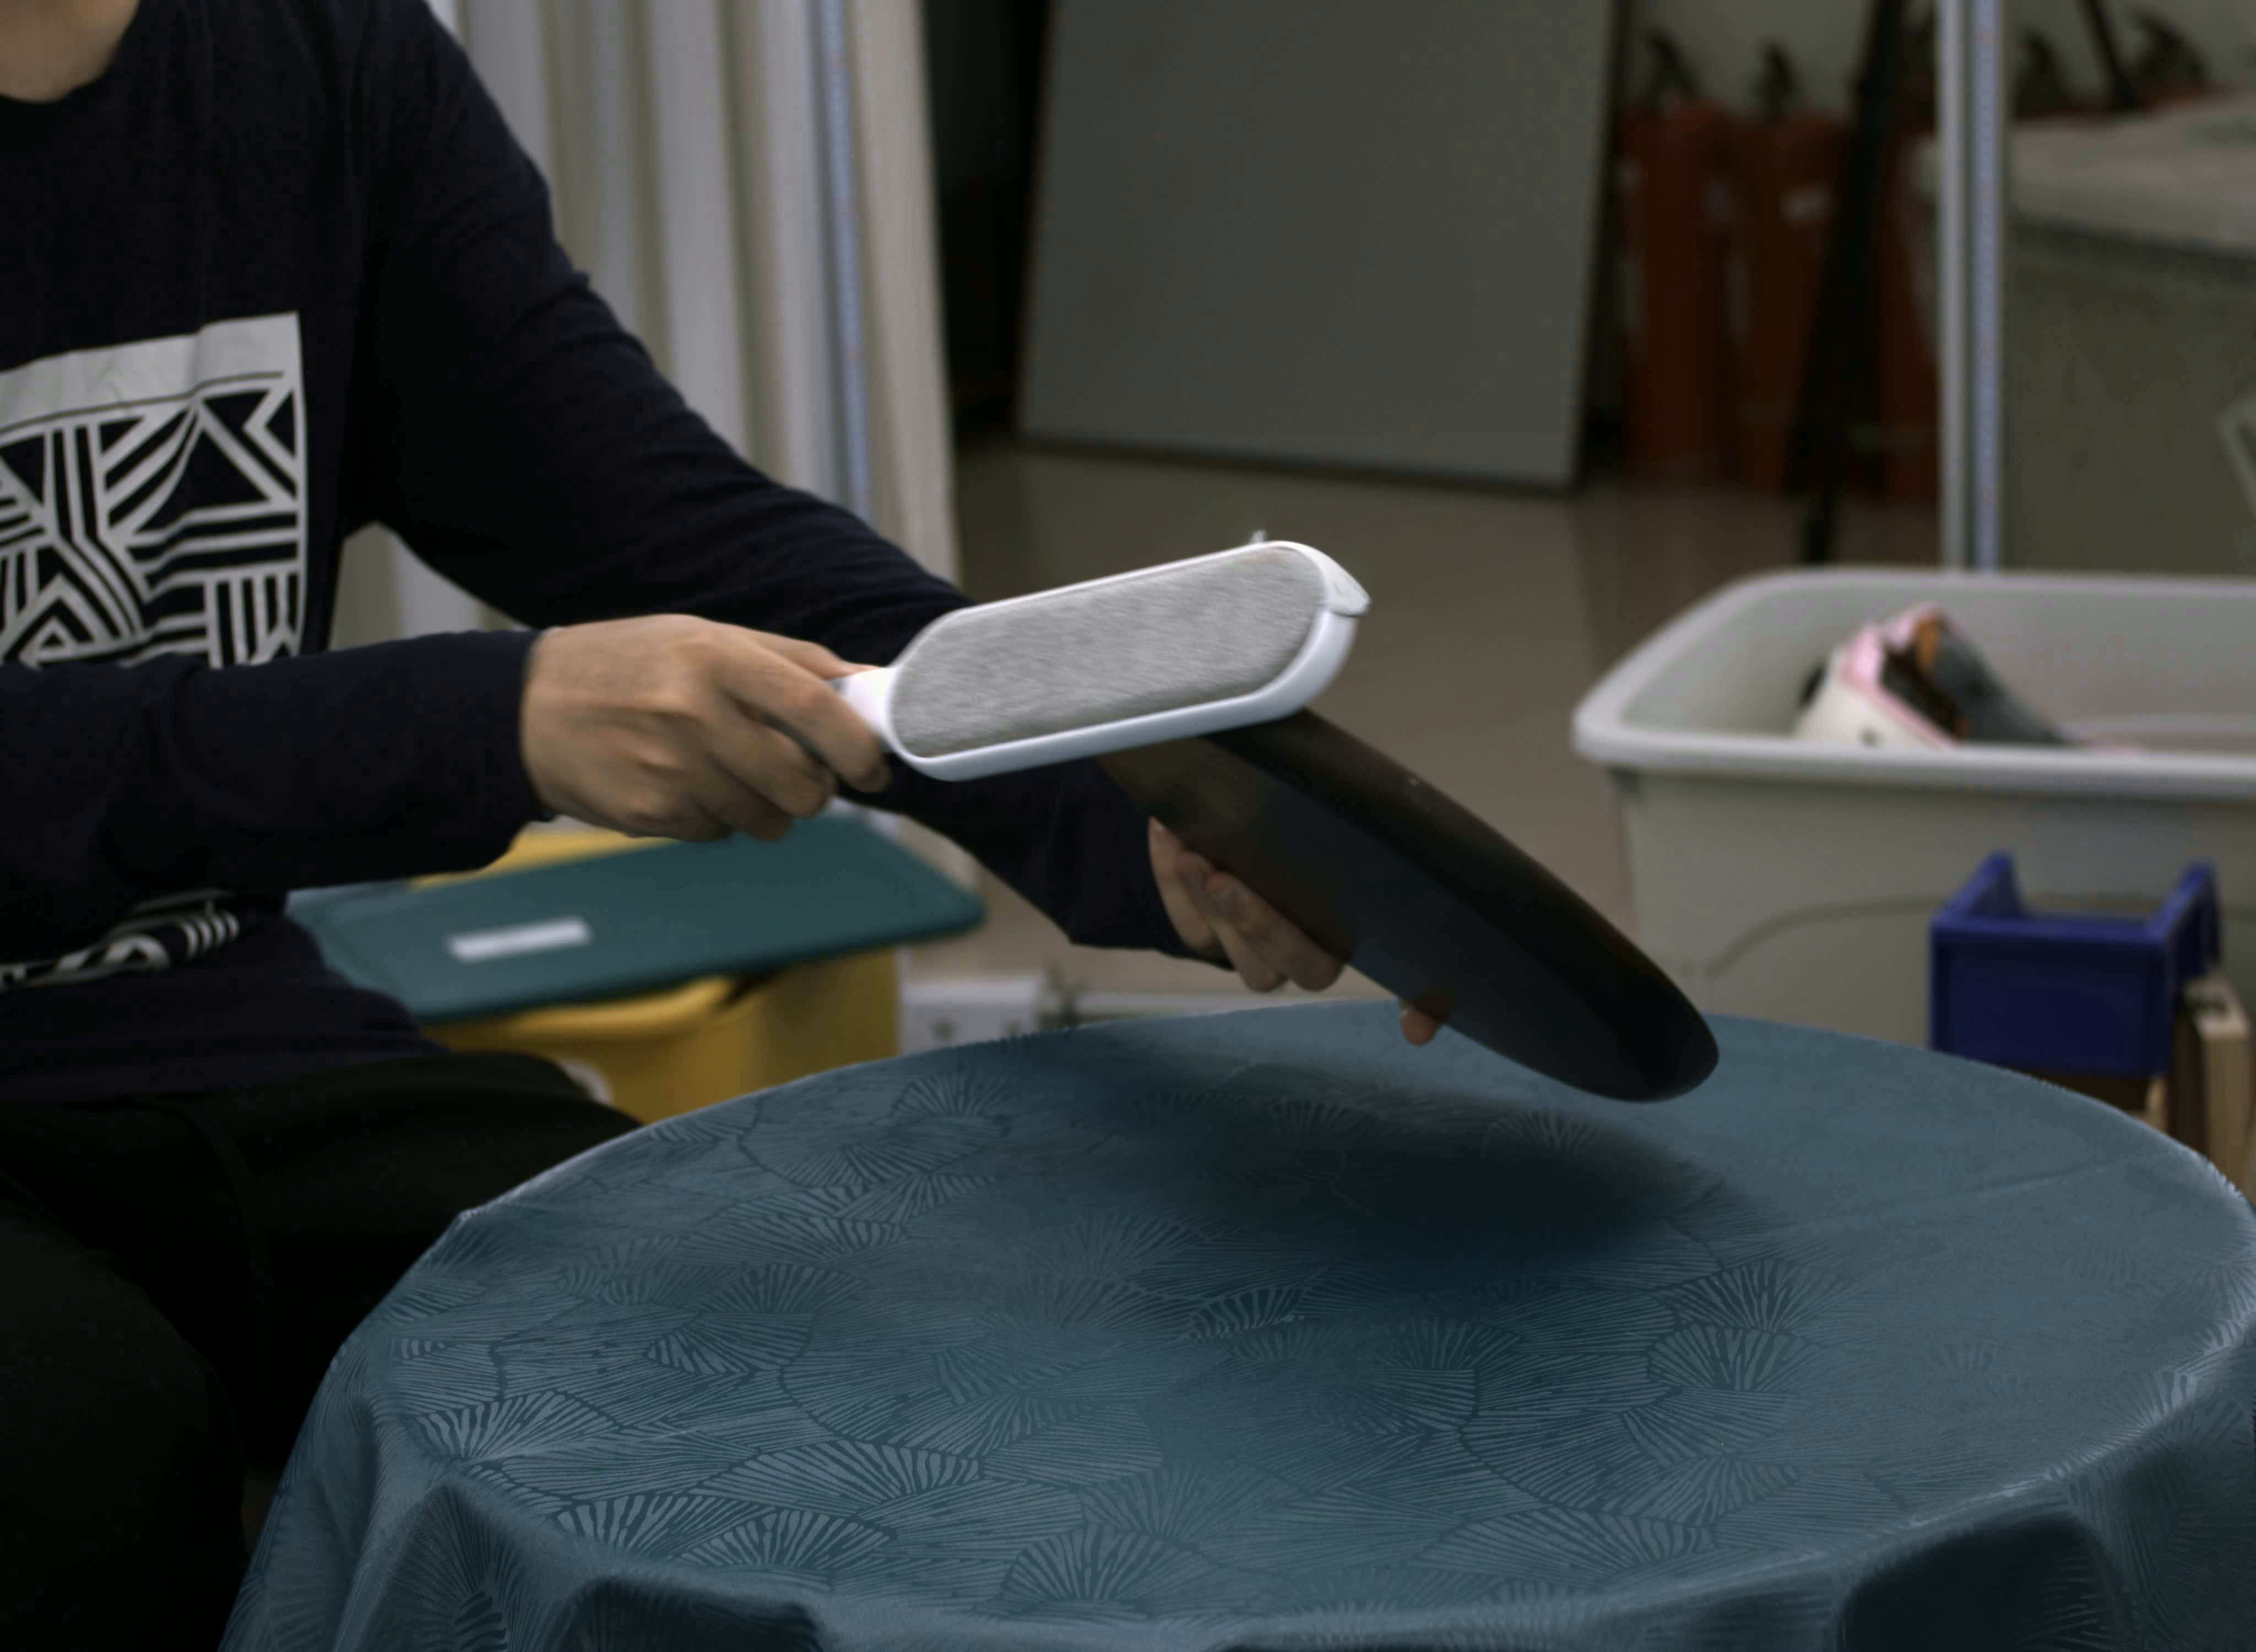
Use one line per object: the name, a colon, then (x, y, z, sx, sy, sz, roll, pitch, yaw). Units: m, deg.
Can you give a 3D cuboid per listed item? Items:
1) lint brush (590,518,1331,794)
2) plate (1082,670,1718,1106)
lint brush: (-0.059, -0.047, 1.706, 0.311, 0.061, 0.020, -11, -26, 40)
plate: (0.081, 0.013, 1.739, 0.029, 0.252, 0.257, -53, 30, -11)
